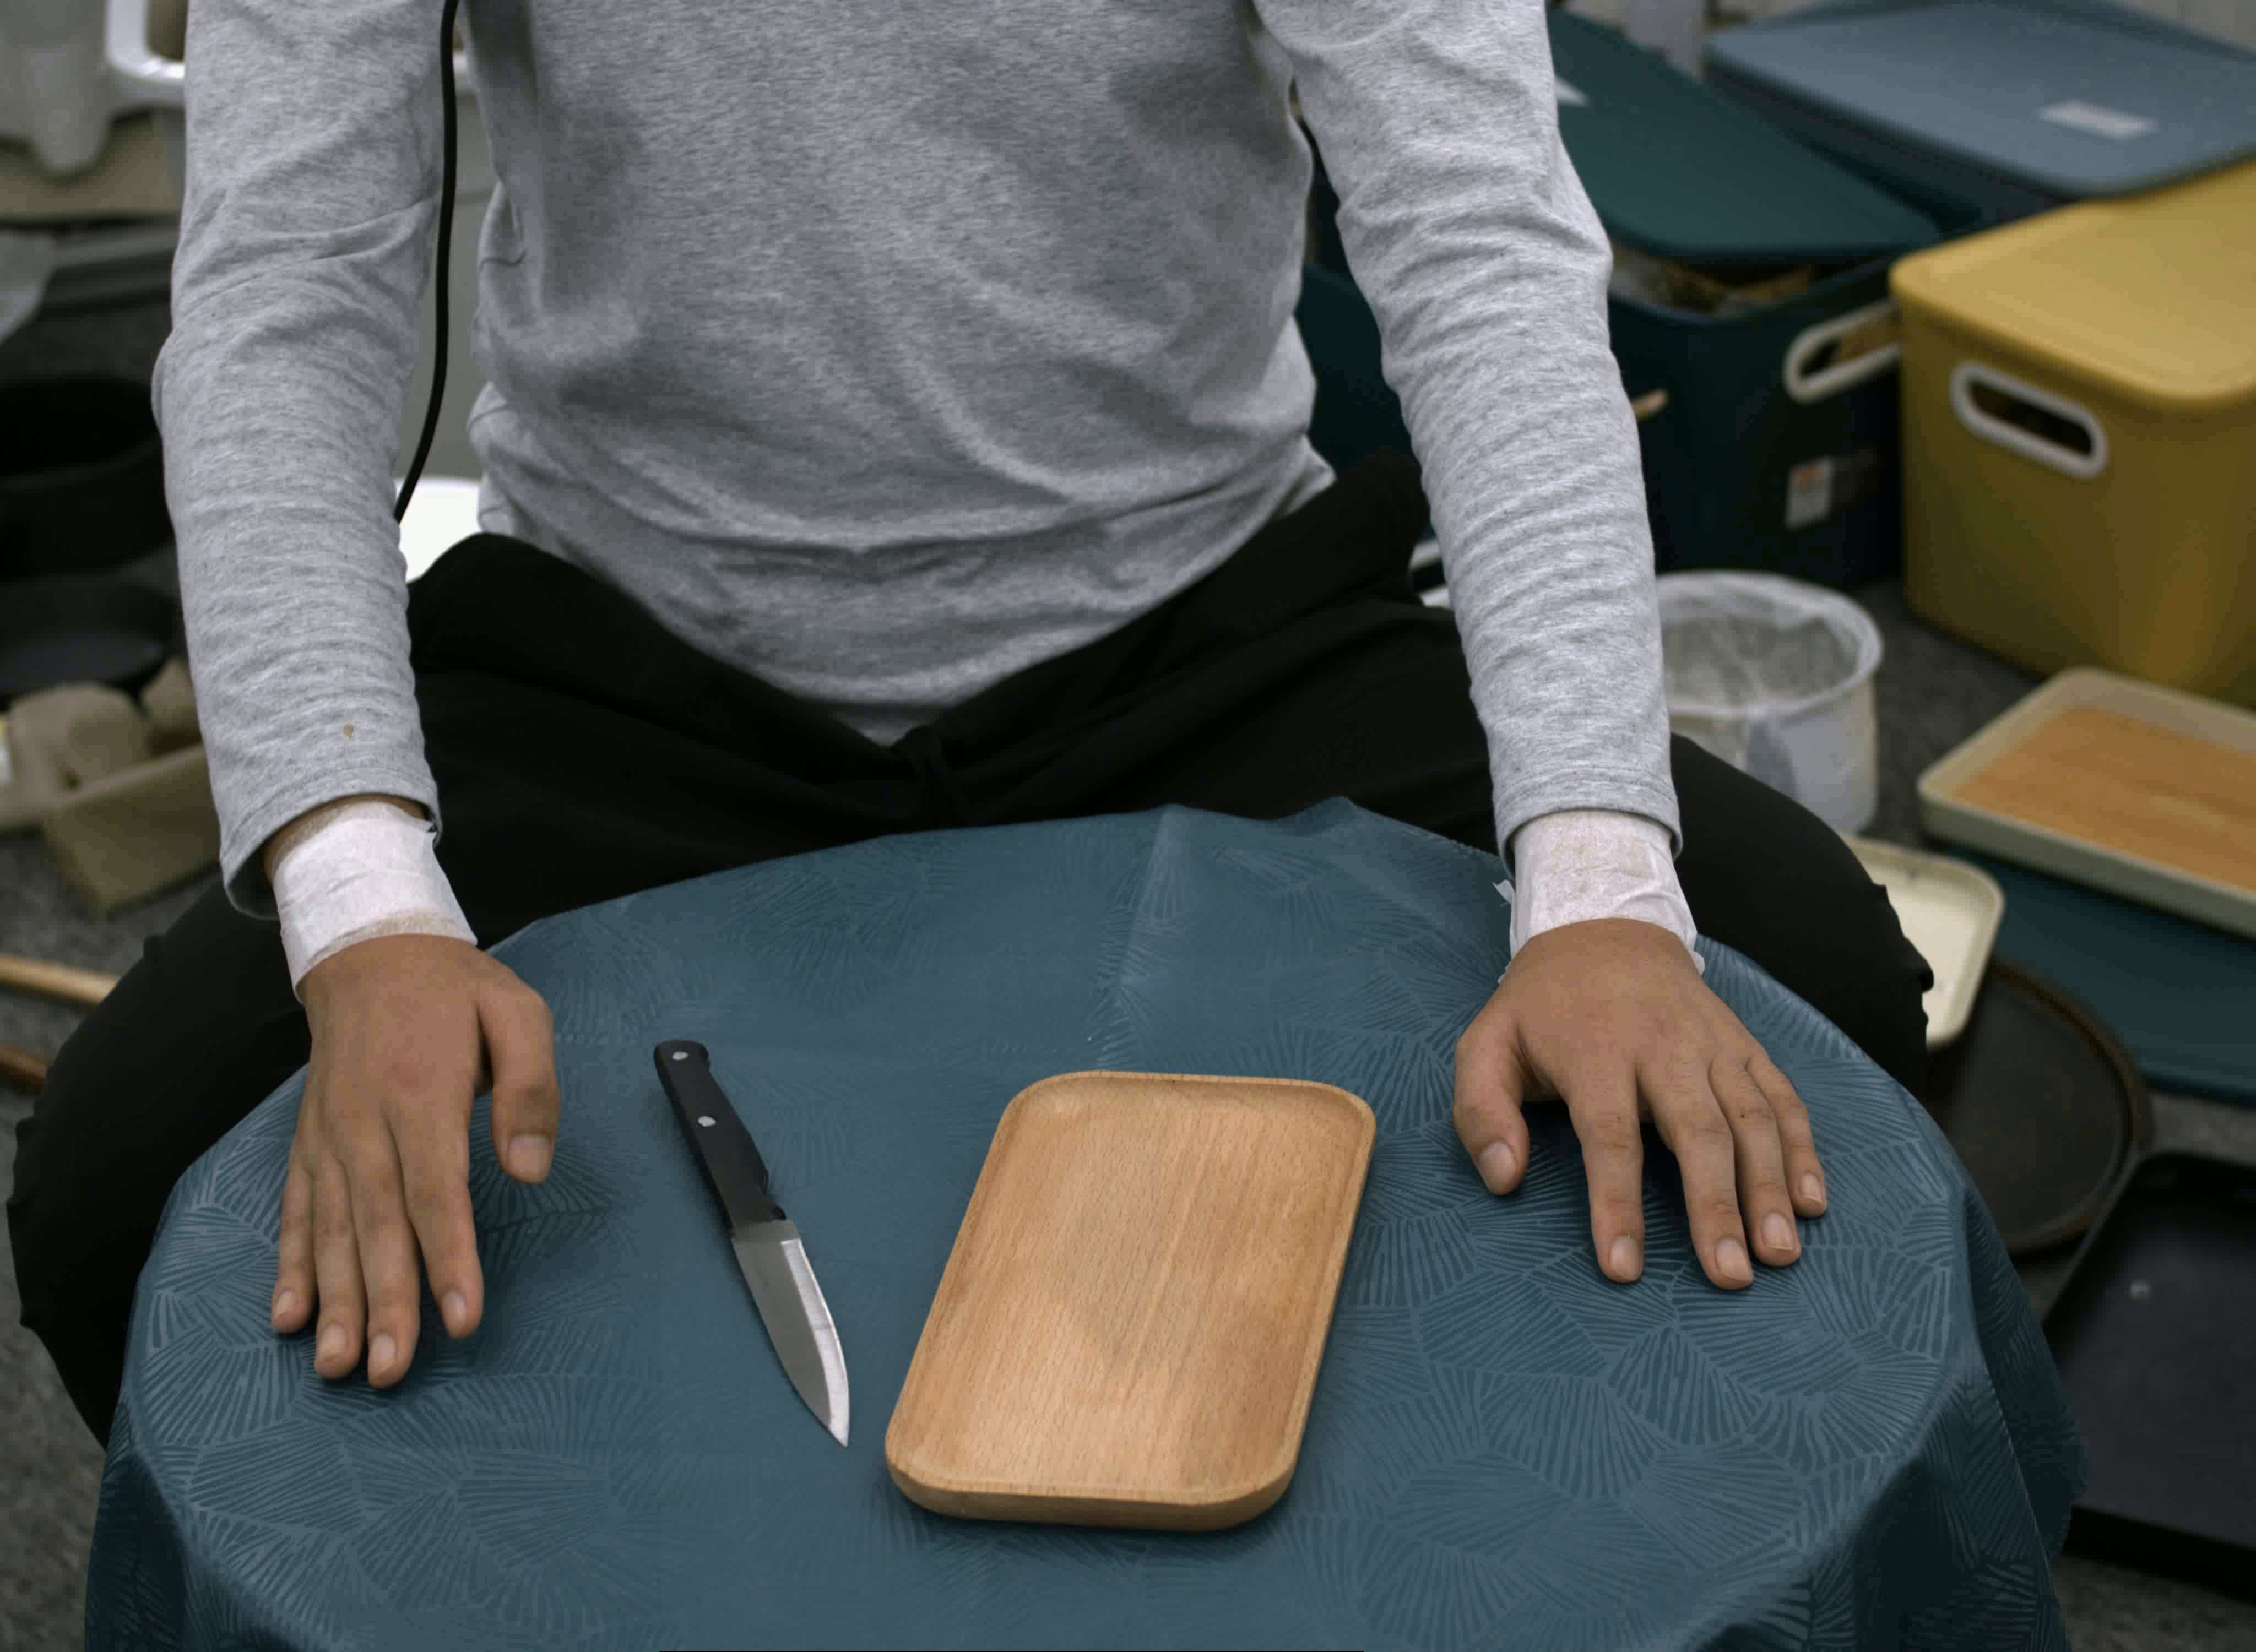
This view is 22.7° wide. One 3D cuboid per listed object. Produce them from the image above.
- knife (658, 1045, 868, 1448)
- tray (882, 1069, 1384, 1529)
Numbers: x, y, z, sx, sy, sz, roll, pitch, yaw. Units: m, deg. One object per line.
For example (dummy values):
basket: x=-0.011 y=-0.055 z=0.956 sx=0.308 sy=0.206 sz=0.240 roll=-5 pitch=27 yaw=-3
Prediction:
knife: x=-0.120 y=0.137 z=1.832 sx=0.024 sy=0.016 sz=0.240 roll=-10 pitch=31 yaw=-14
tray: x=0.005 y=0.148 z=1.792 sx=0.130 sy=0.022 sz=0.255 roll=5 pitch=27 yaw=9
